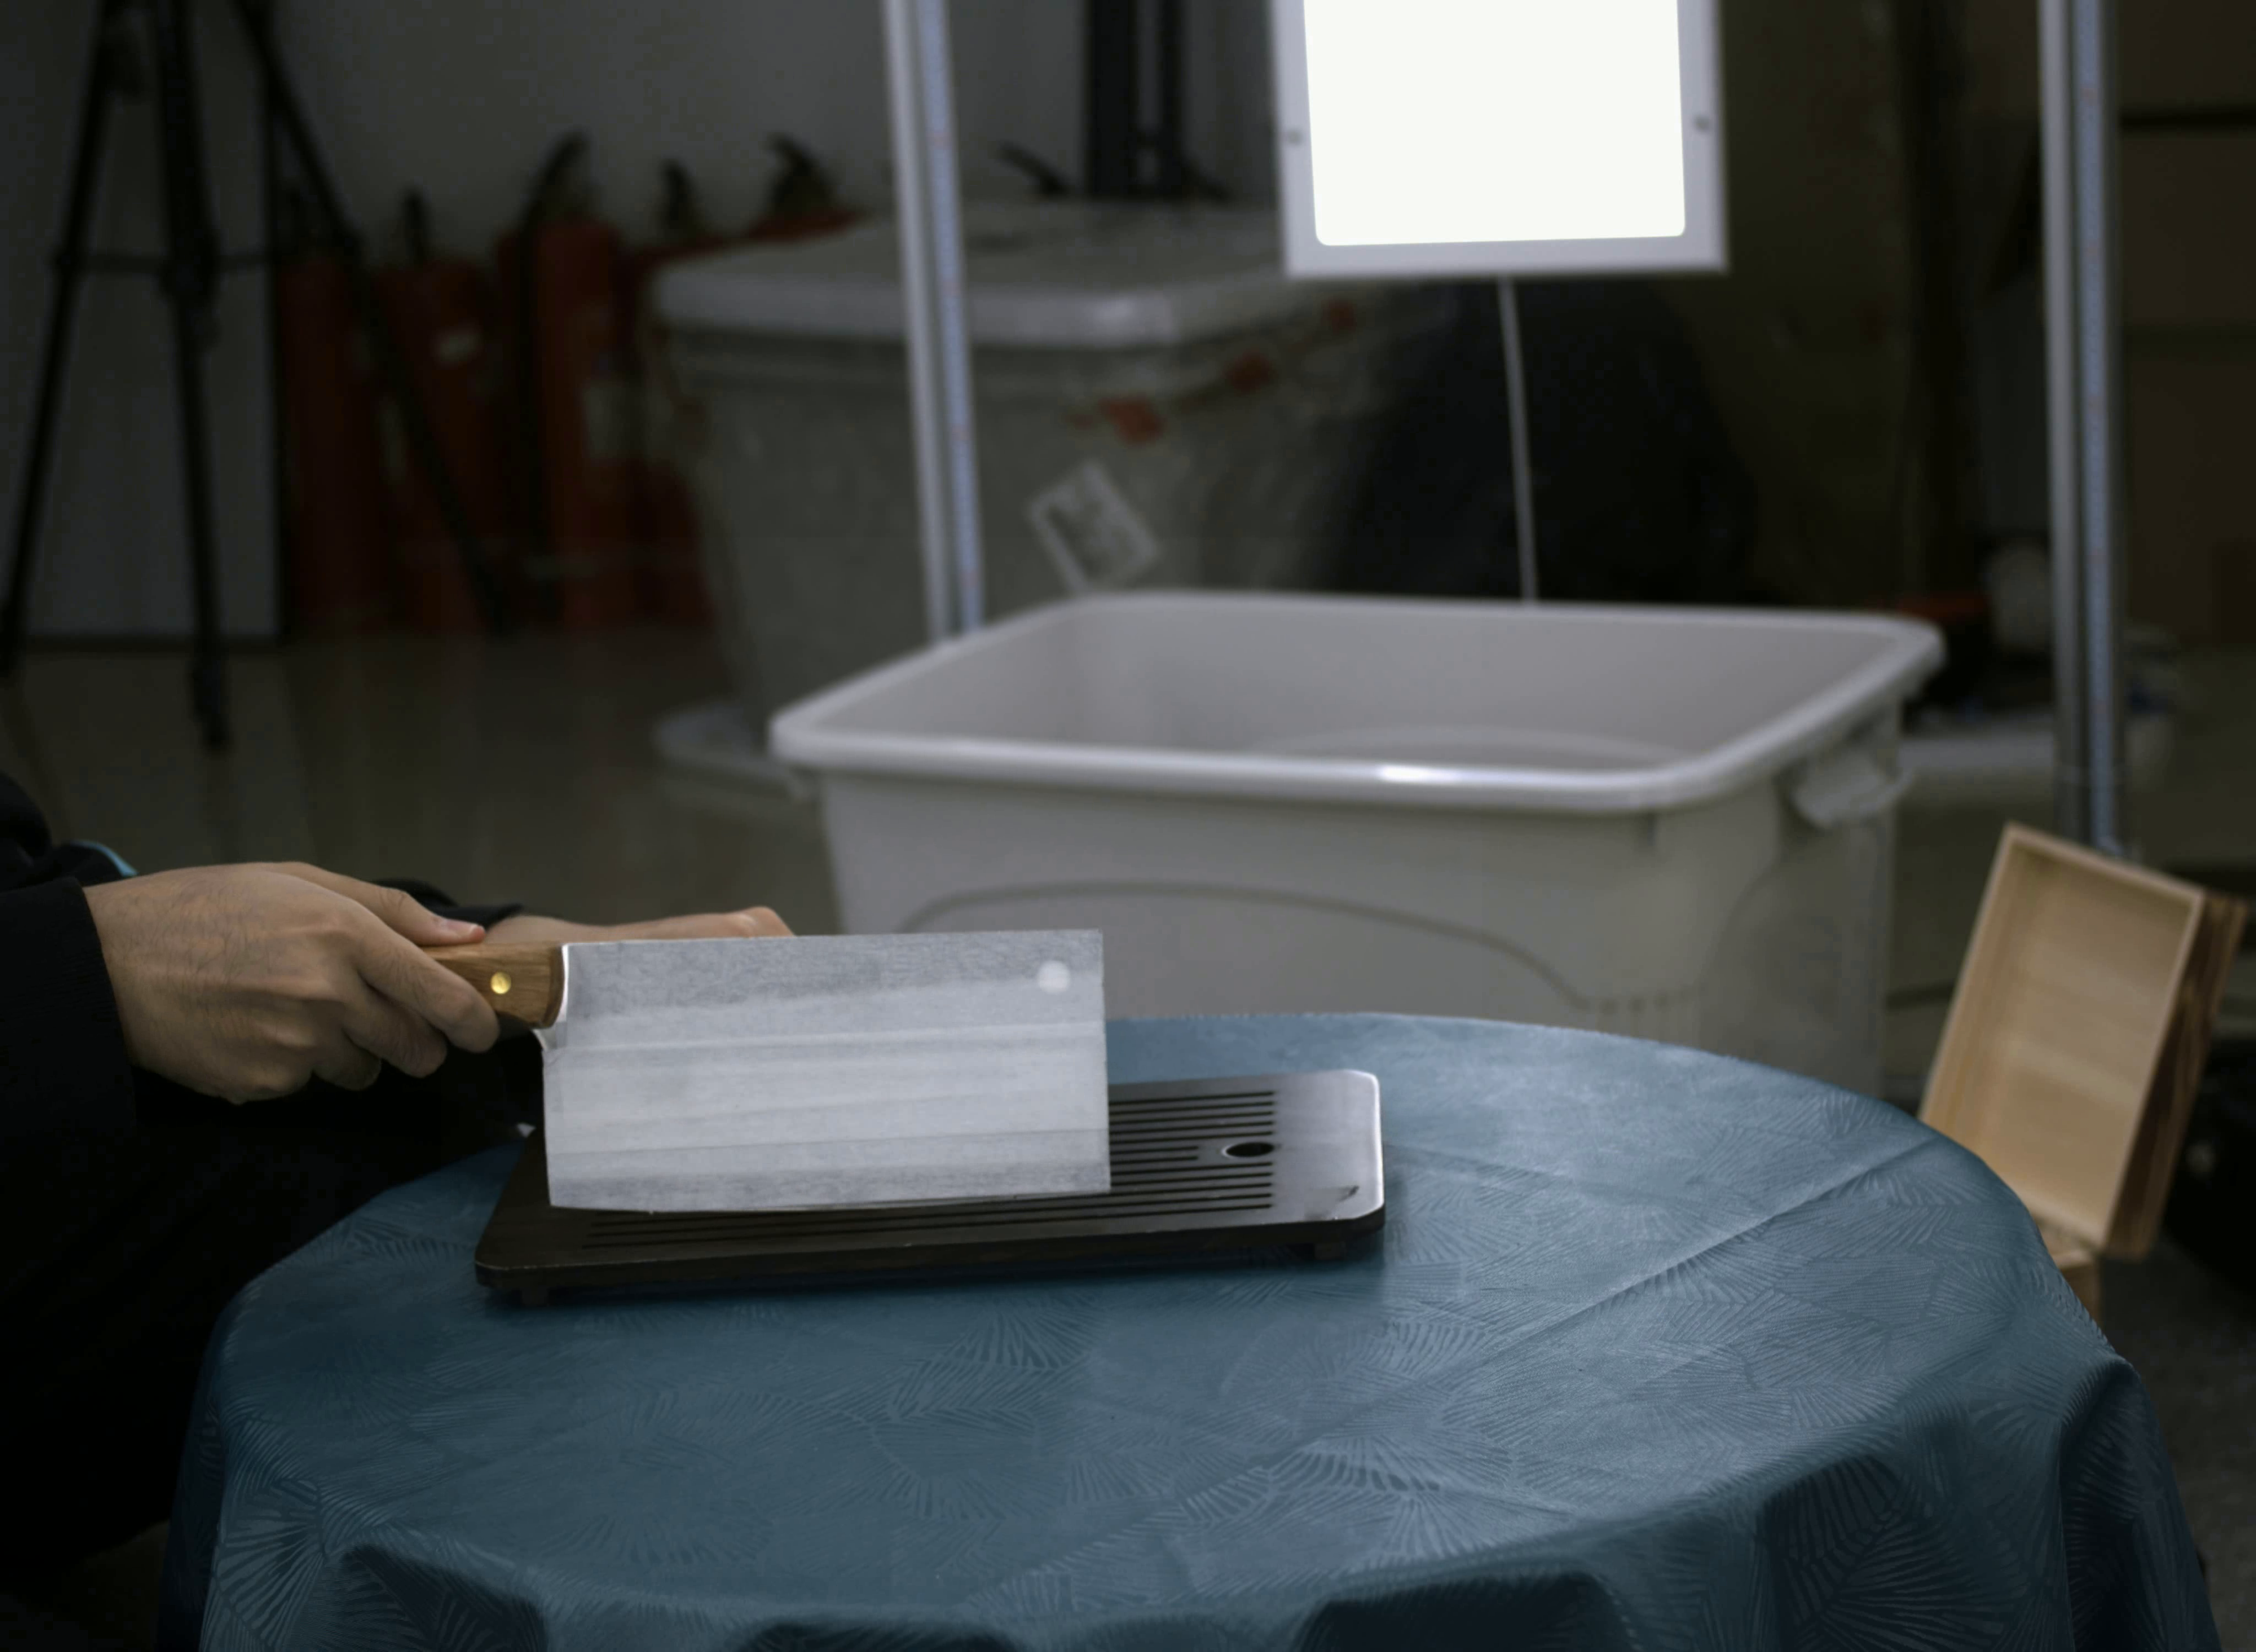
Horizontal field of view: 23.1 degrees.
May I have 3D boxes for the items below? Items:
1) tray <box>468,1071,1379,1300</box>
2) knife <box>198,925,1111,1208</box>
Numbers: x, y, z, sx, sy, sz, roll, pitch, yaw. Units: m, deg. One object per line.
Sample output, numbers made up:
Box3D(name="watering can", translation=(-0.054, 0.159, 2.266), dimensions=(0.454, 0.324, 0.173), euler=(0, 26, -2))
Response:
Box3D(name="tray", translation=(-0.066, 0.124, 1.894), dimensions=(0.306, 0.019, 0.169), euler=(-4, 14, 5))
Box3D(name="knife", translation=(-0.158, 0.081, 1.838), dimensions=(0.306, 0.093, 0.021), euler=(-2, 6, 7))
